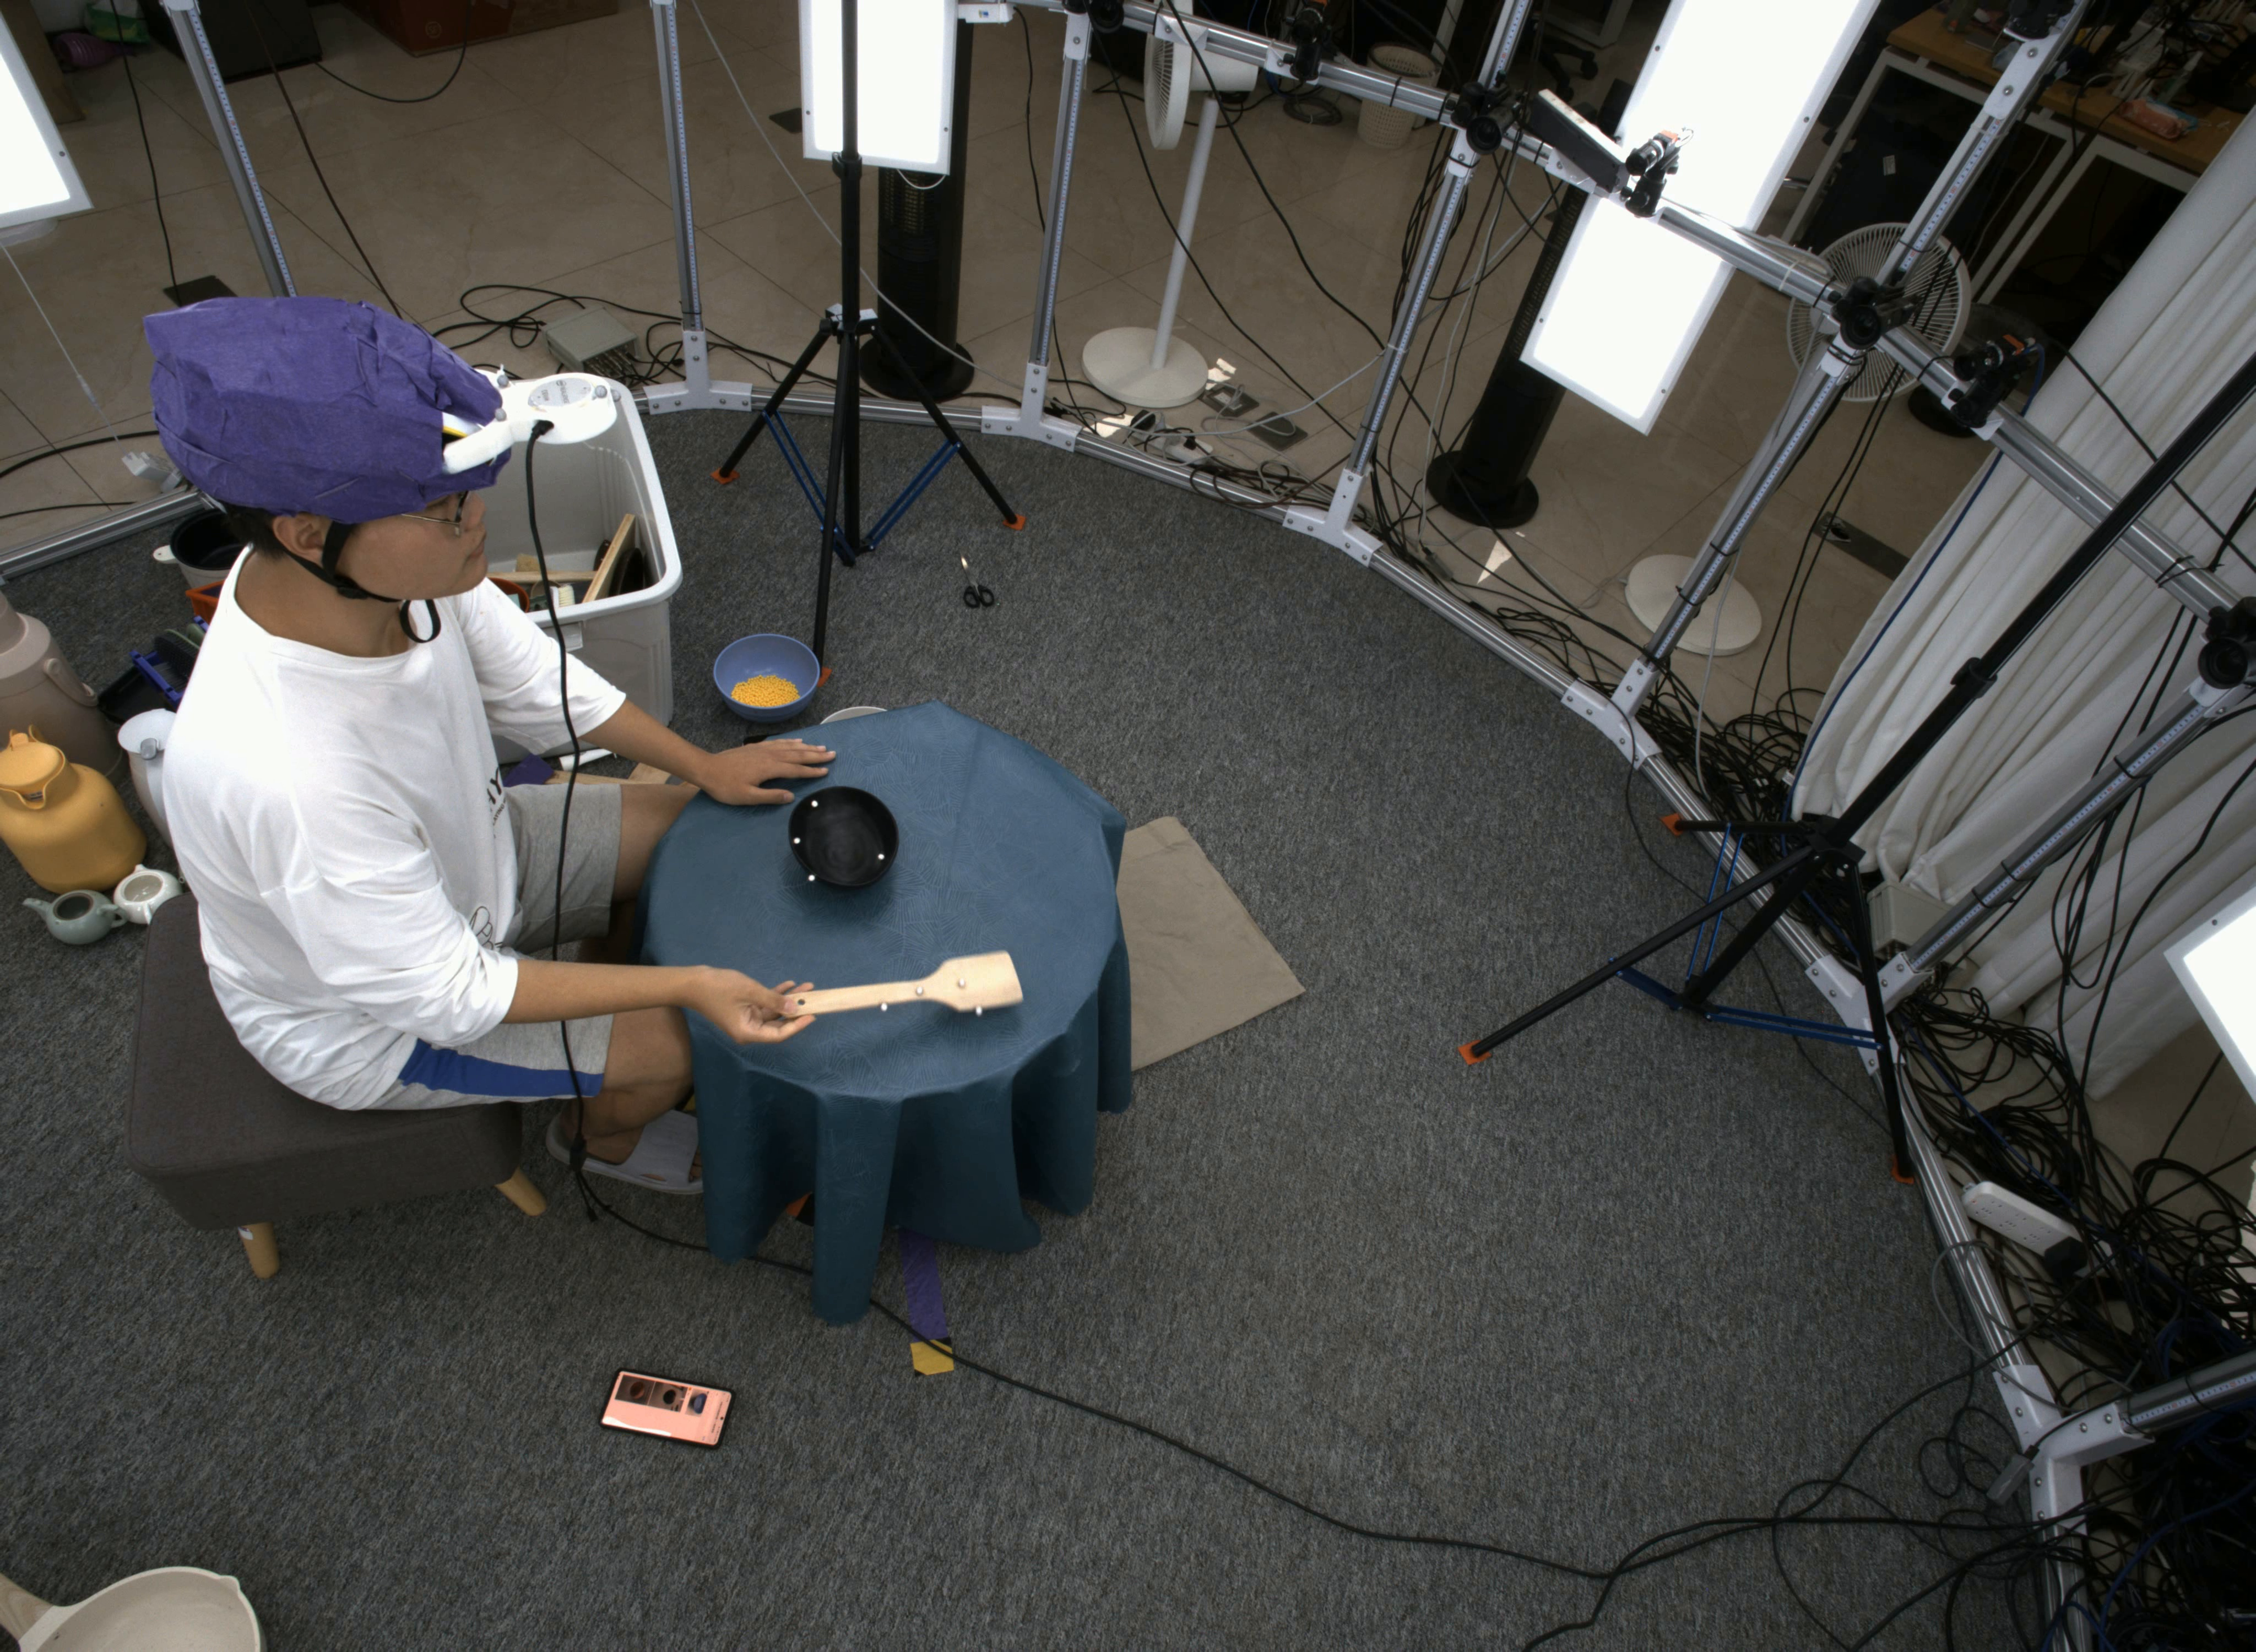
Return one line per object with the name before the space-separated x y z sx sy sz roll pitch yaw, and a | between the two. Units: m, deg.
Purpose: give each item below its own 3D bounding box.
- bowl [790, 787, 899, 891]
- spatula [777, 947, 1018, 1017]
bowl | -0.368 0.024 1.689 0.138 0.068 0.166 -14 56 -21
spatula | -0.271 0.191 1.543 0.297 0.011 0.070 -6 58 -32
